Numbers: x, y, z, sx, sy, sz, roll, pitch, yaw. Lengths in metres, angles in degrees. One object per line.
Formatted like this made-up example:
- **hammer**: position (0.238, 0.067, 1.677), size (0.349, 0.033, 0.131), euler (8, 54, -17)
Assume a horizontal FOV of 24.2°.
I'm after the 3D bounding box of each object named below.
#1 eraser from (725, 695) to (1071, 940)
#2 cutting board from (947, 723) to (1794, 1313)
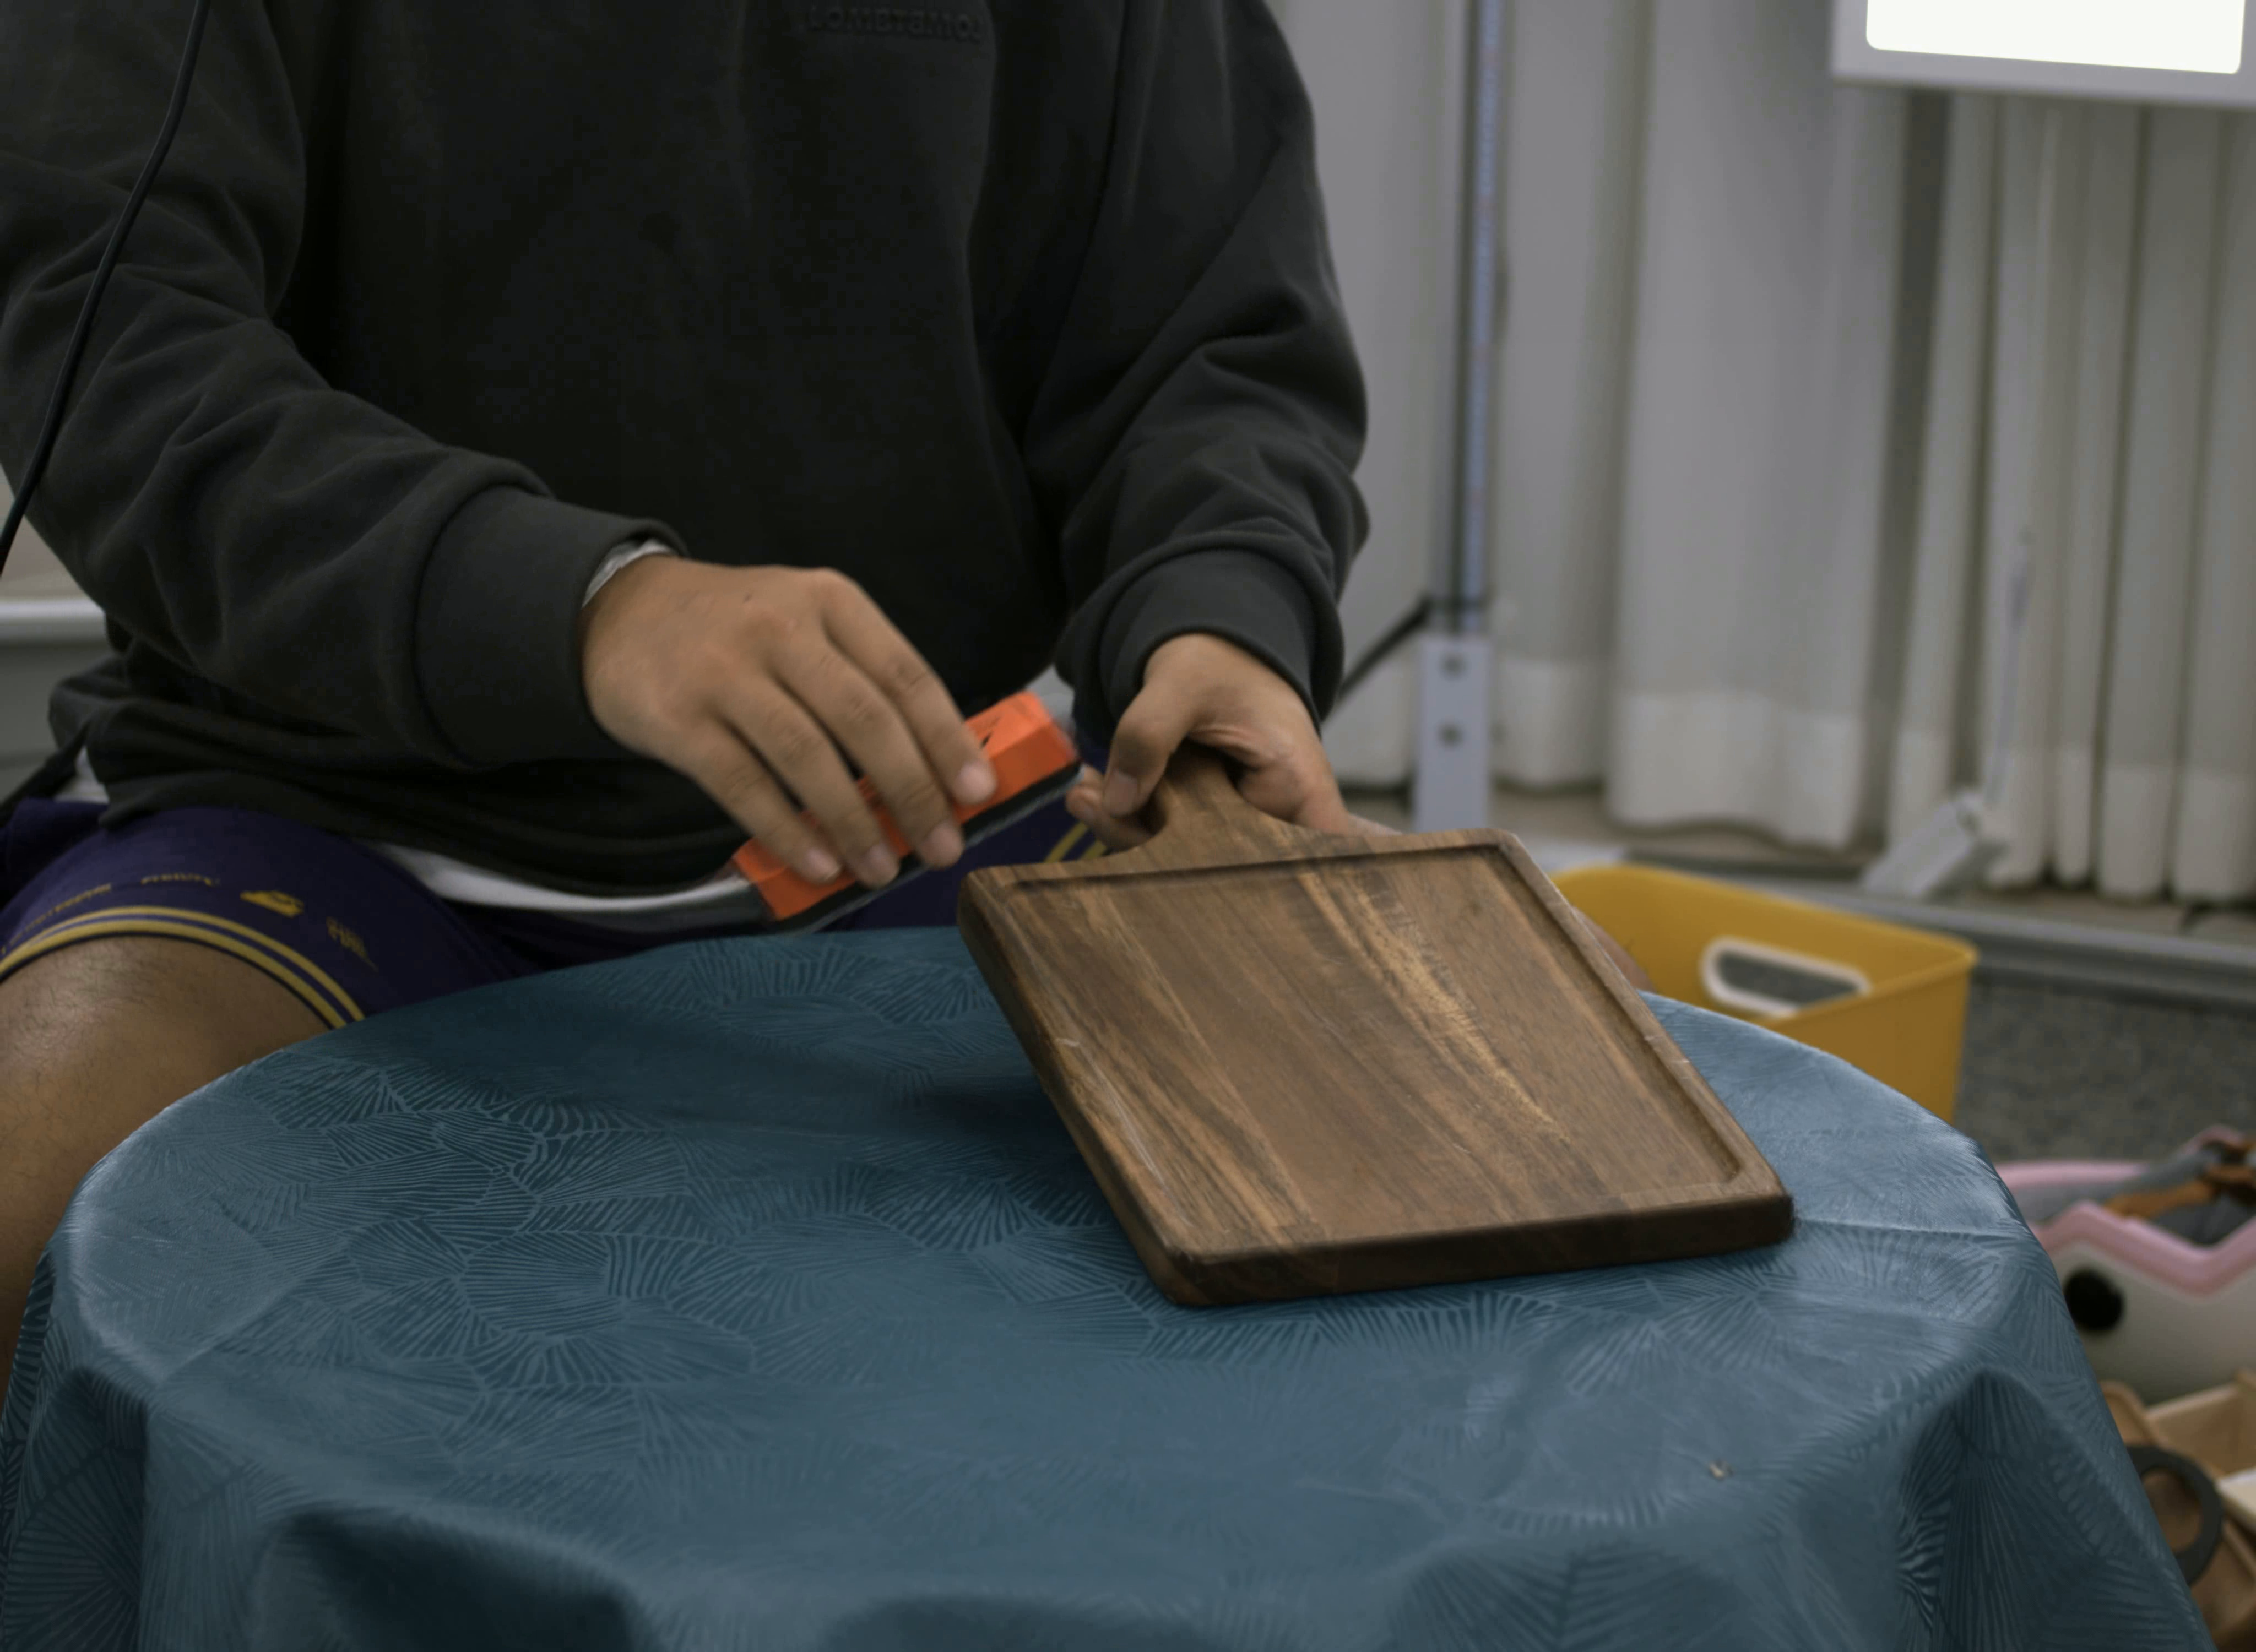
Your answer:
- **eraser**: position (-0.073, -0.003, 1.654), size (0.108, 0.023, 0.058), euler (-29, 15, -6)
- **cutting board**: position (0.056, 0.049, 1.690), size (0.201, 0.023, 0.348), euler (-5, 28, -17)
